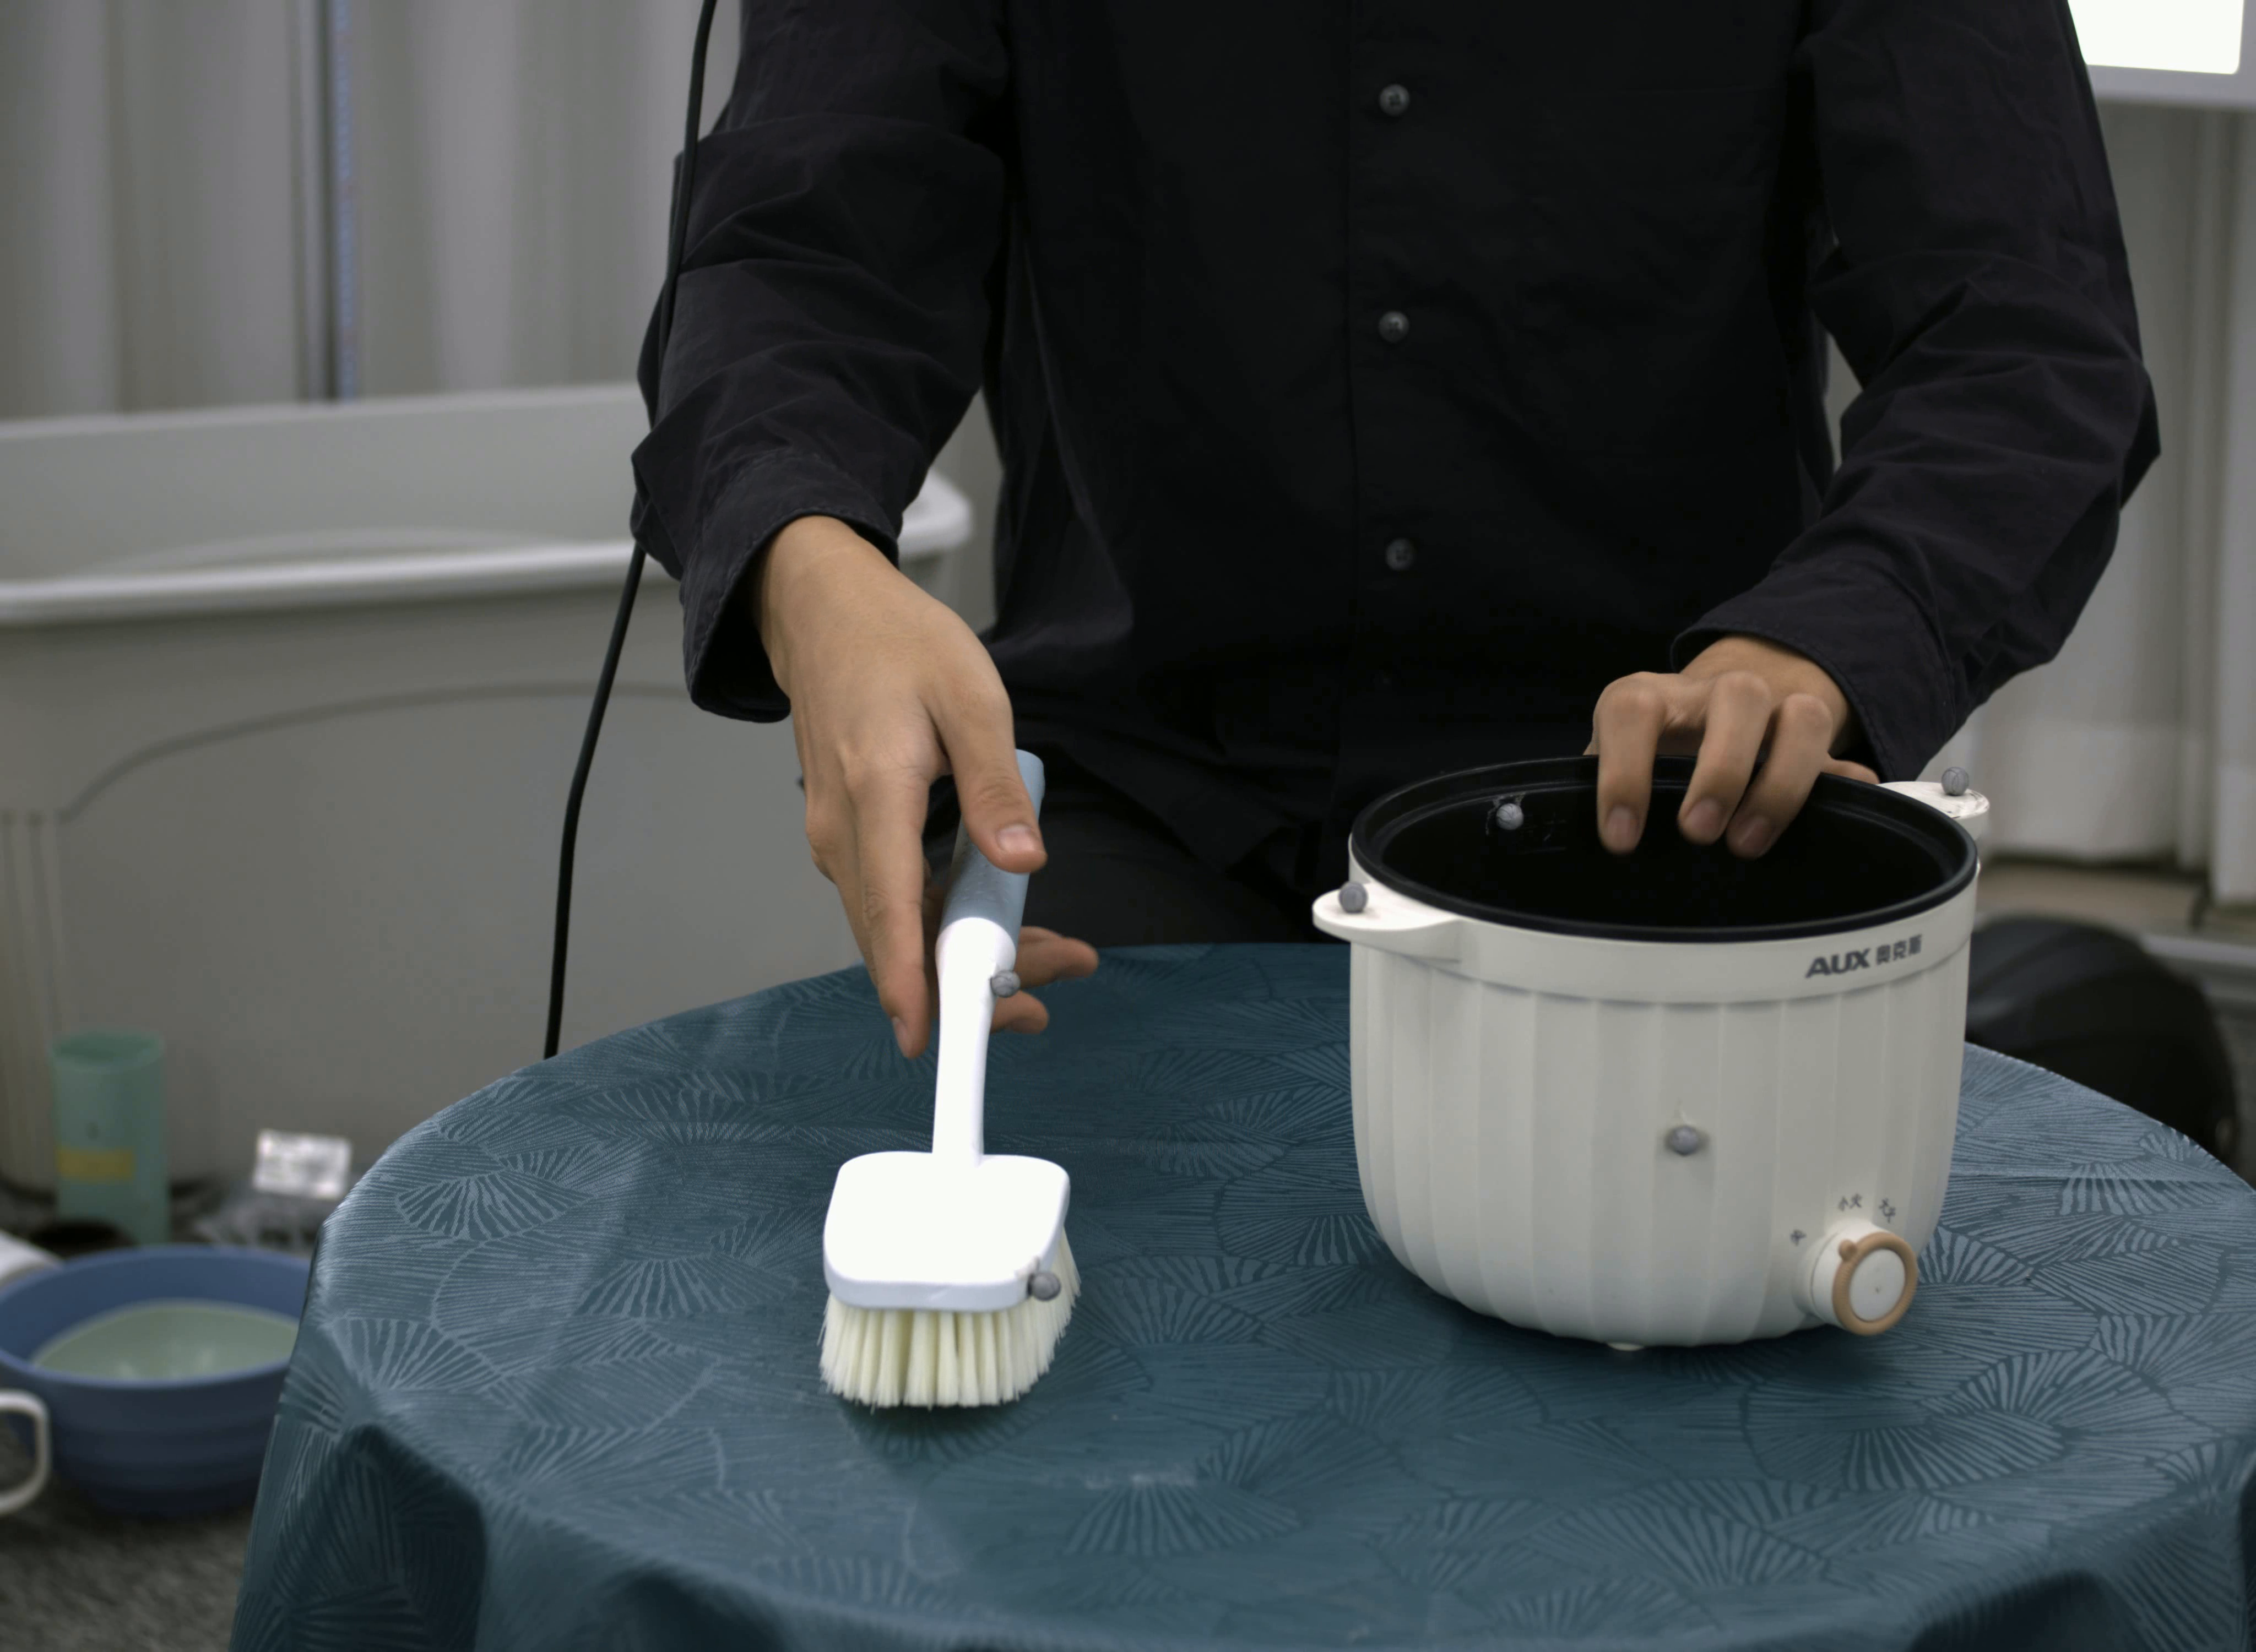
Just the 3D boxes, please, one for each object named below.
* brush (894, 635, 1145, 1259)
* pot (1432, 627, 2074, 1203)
[{"bbox_3d":[-0.023,0.049,1.609,0.083,0.084,0.323,34,25,-13],"label":"brush"},{"bbox_3d":[0.192,0.028,1.569,0.241,0.144,0.188,-12,18,-34],"label":"pot"}]
